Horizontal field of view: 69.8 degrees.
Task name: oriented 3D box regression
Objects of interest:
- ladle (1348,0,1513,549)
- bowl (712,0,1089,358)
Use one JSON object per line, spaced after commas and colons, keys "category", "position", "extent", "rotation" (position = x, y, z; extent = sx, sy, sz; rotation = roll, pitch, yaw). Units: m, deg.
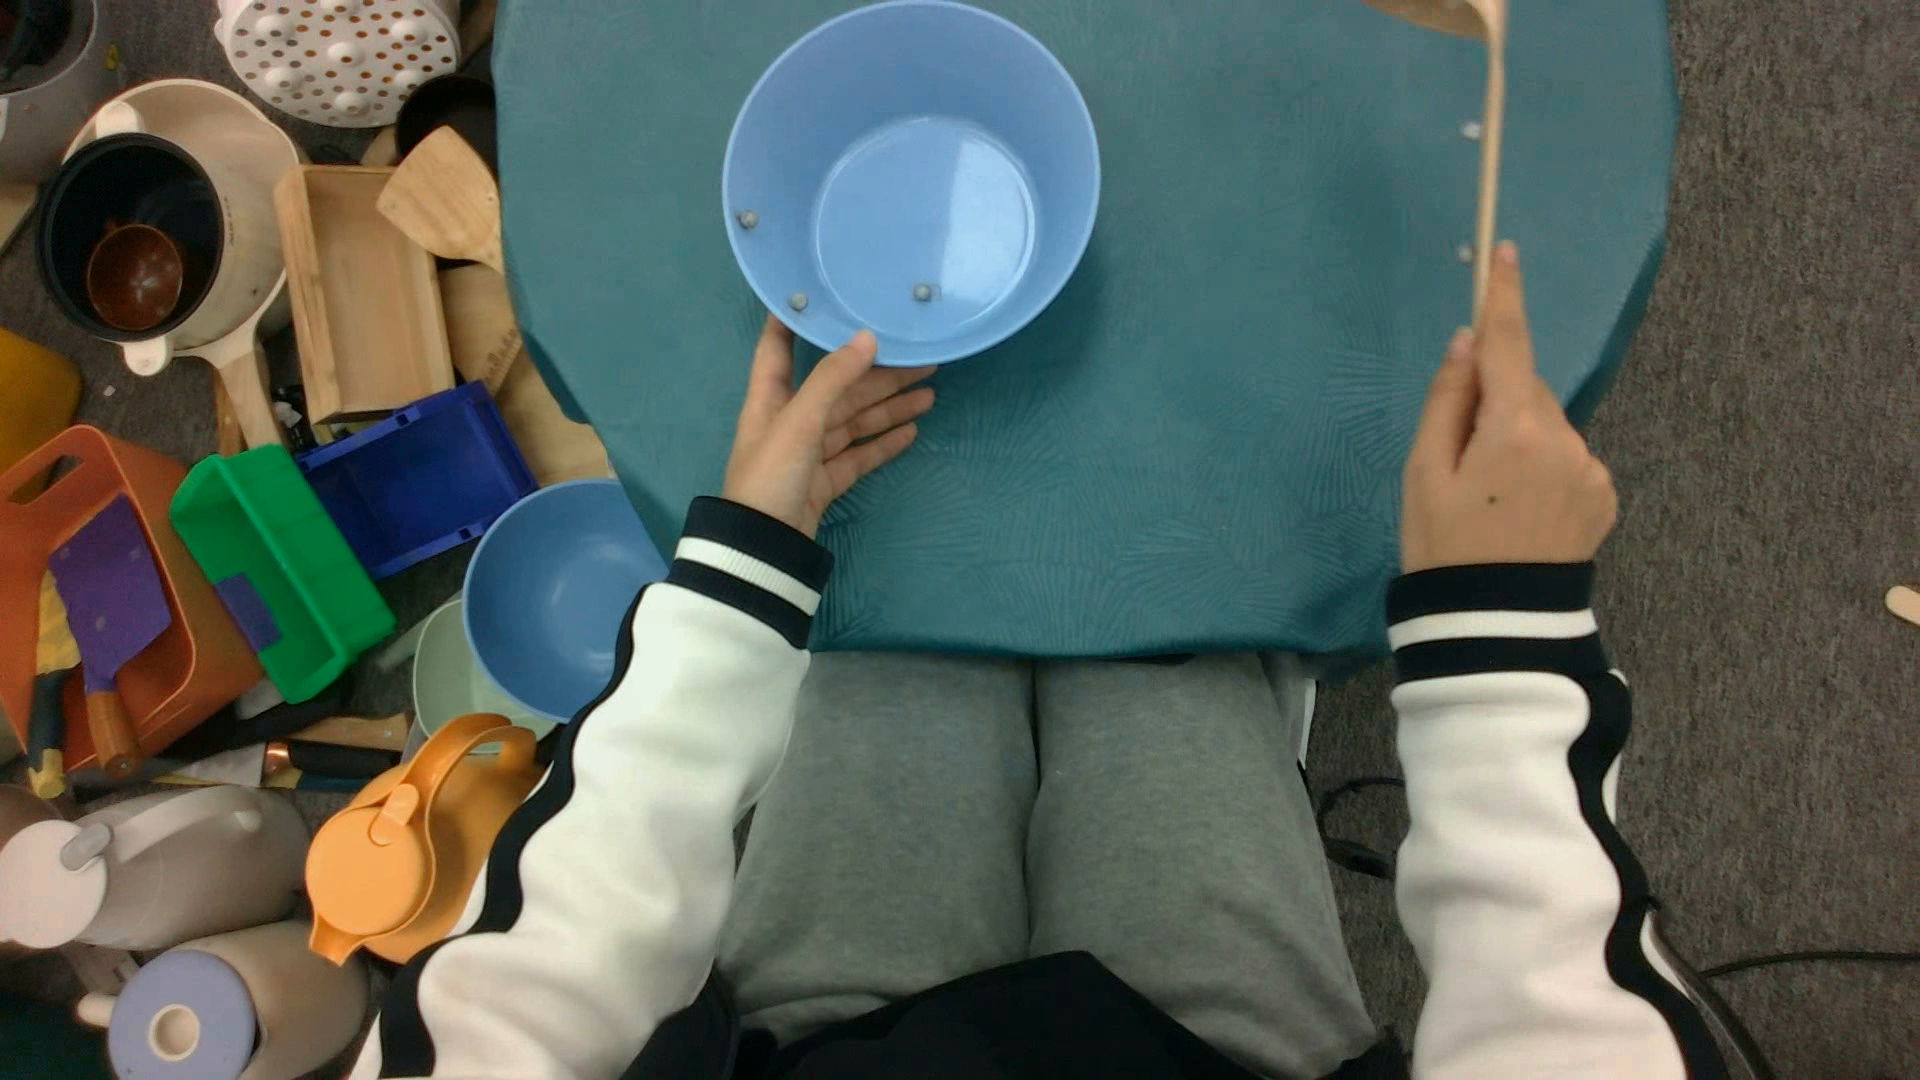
{"category": "ladle", "position": [0.188, -0.124, 0.571], "extent": [0.072, 0.072, 0.254], "rotation": [1, 89, 23]}
{"category": "bowl", "position": [-0.025, -0.165, 0.667], "extent": [0.176, 0.070, 0.176], "rotation": [-1, 81, 6]}
